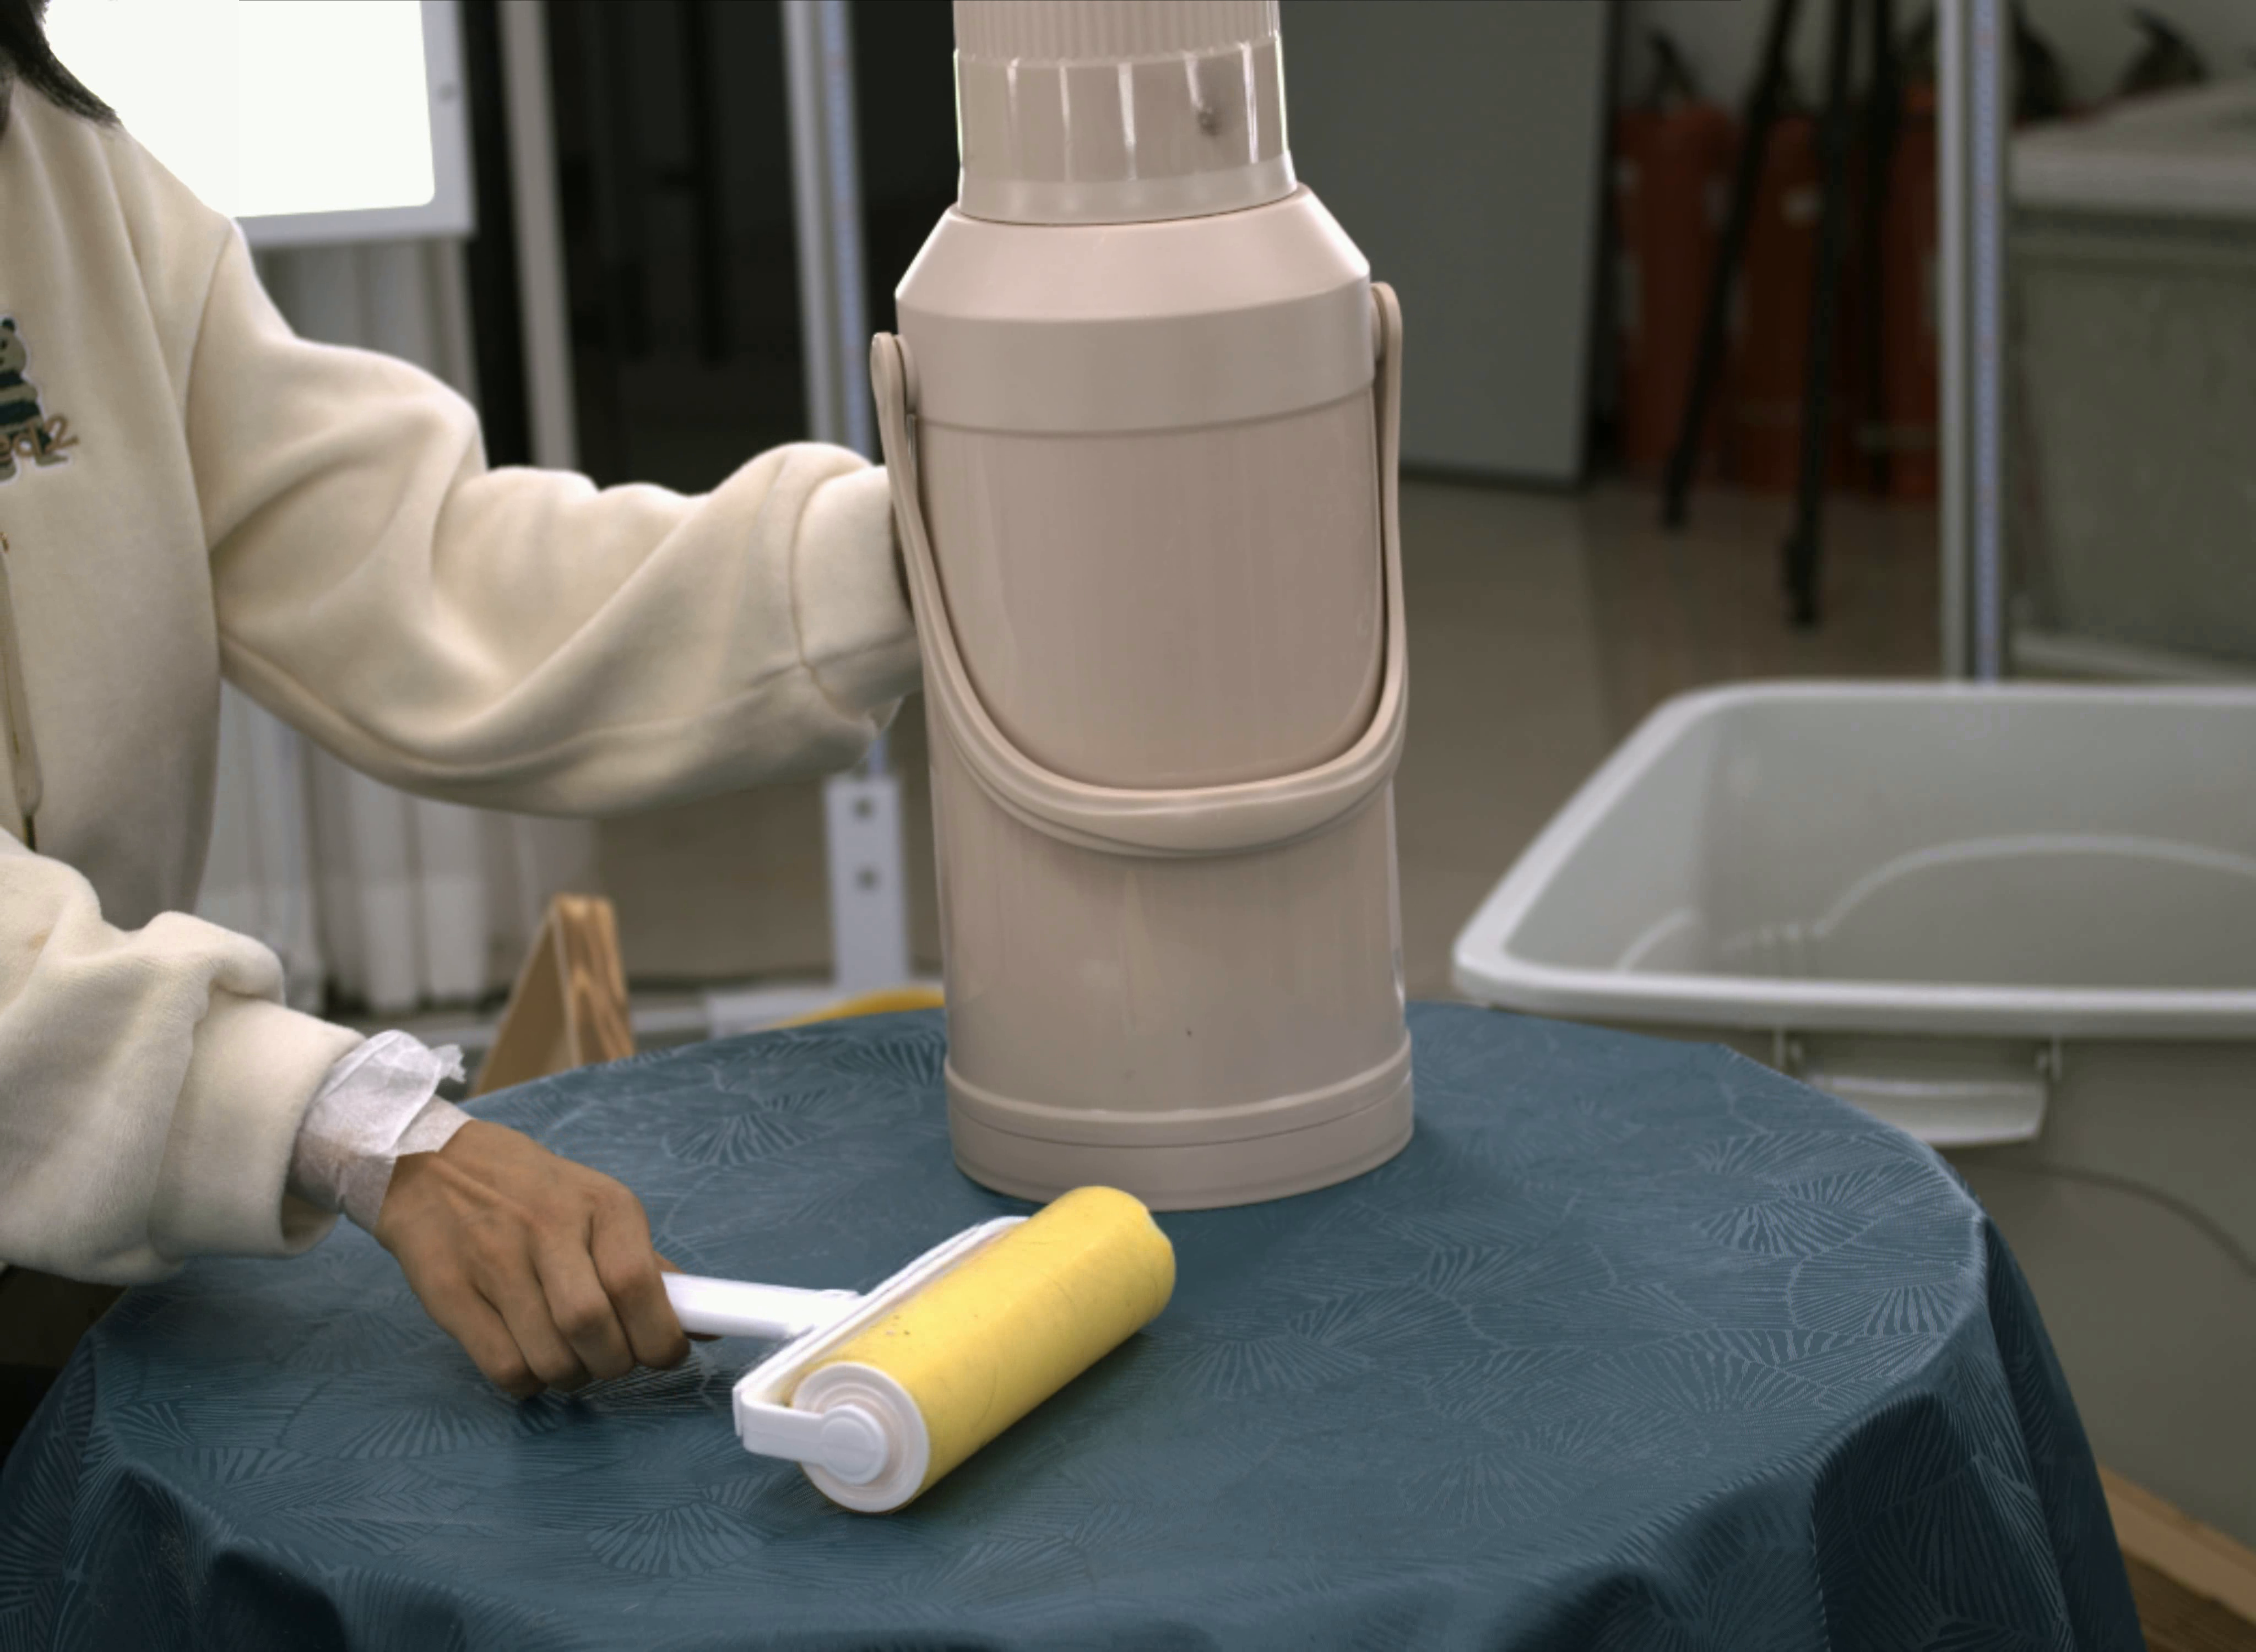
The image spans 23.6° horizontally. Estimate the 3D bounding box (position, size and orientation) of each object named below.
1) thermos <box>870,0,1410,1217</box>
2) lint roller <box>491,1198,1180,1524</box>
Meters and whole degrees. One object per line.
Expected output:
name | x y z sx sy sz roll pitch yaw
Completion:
thermos | 0.004 -0.089 1.788 0.172 0.411 0.208 -7 13 -13
lint roller | -0.102 0.136 1.591 0.192 0.052 0.172 17 21 22
